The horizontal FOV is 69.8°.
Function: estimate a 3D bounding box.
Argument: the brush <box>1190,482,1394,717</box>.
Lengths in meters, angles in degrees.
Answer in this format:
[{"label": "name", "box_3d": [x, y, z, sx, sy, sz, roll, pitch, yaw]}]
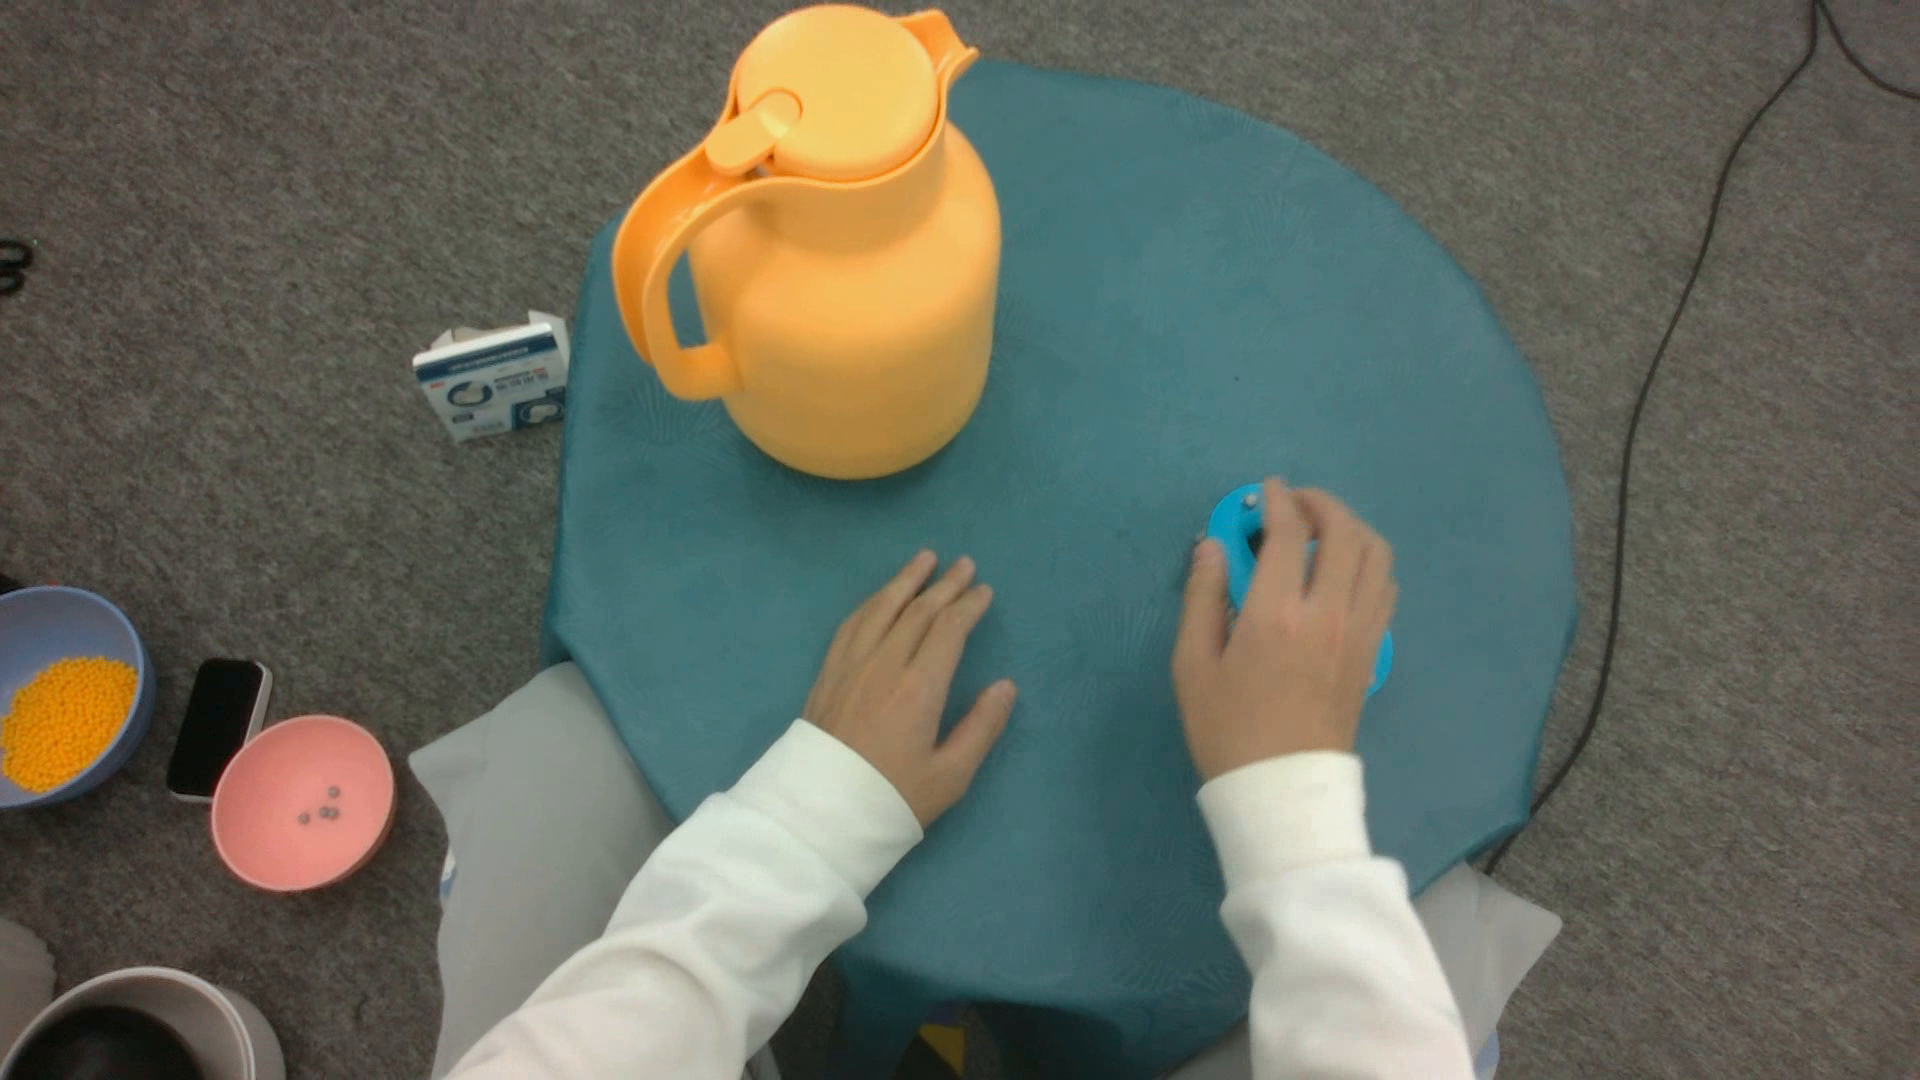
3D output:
[{"label": "brush", "box_3d": [0.192, 0.025, 0.775, 0.084, 0.063, 0.142, -18, 69, -16]}]

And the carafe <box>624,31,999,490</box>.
[{"label": "carafe", "box_3d": [-0.076, -0.136, 0.728, 0.203, 0.259, 0.163, -35, 70, -17]}]
